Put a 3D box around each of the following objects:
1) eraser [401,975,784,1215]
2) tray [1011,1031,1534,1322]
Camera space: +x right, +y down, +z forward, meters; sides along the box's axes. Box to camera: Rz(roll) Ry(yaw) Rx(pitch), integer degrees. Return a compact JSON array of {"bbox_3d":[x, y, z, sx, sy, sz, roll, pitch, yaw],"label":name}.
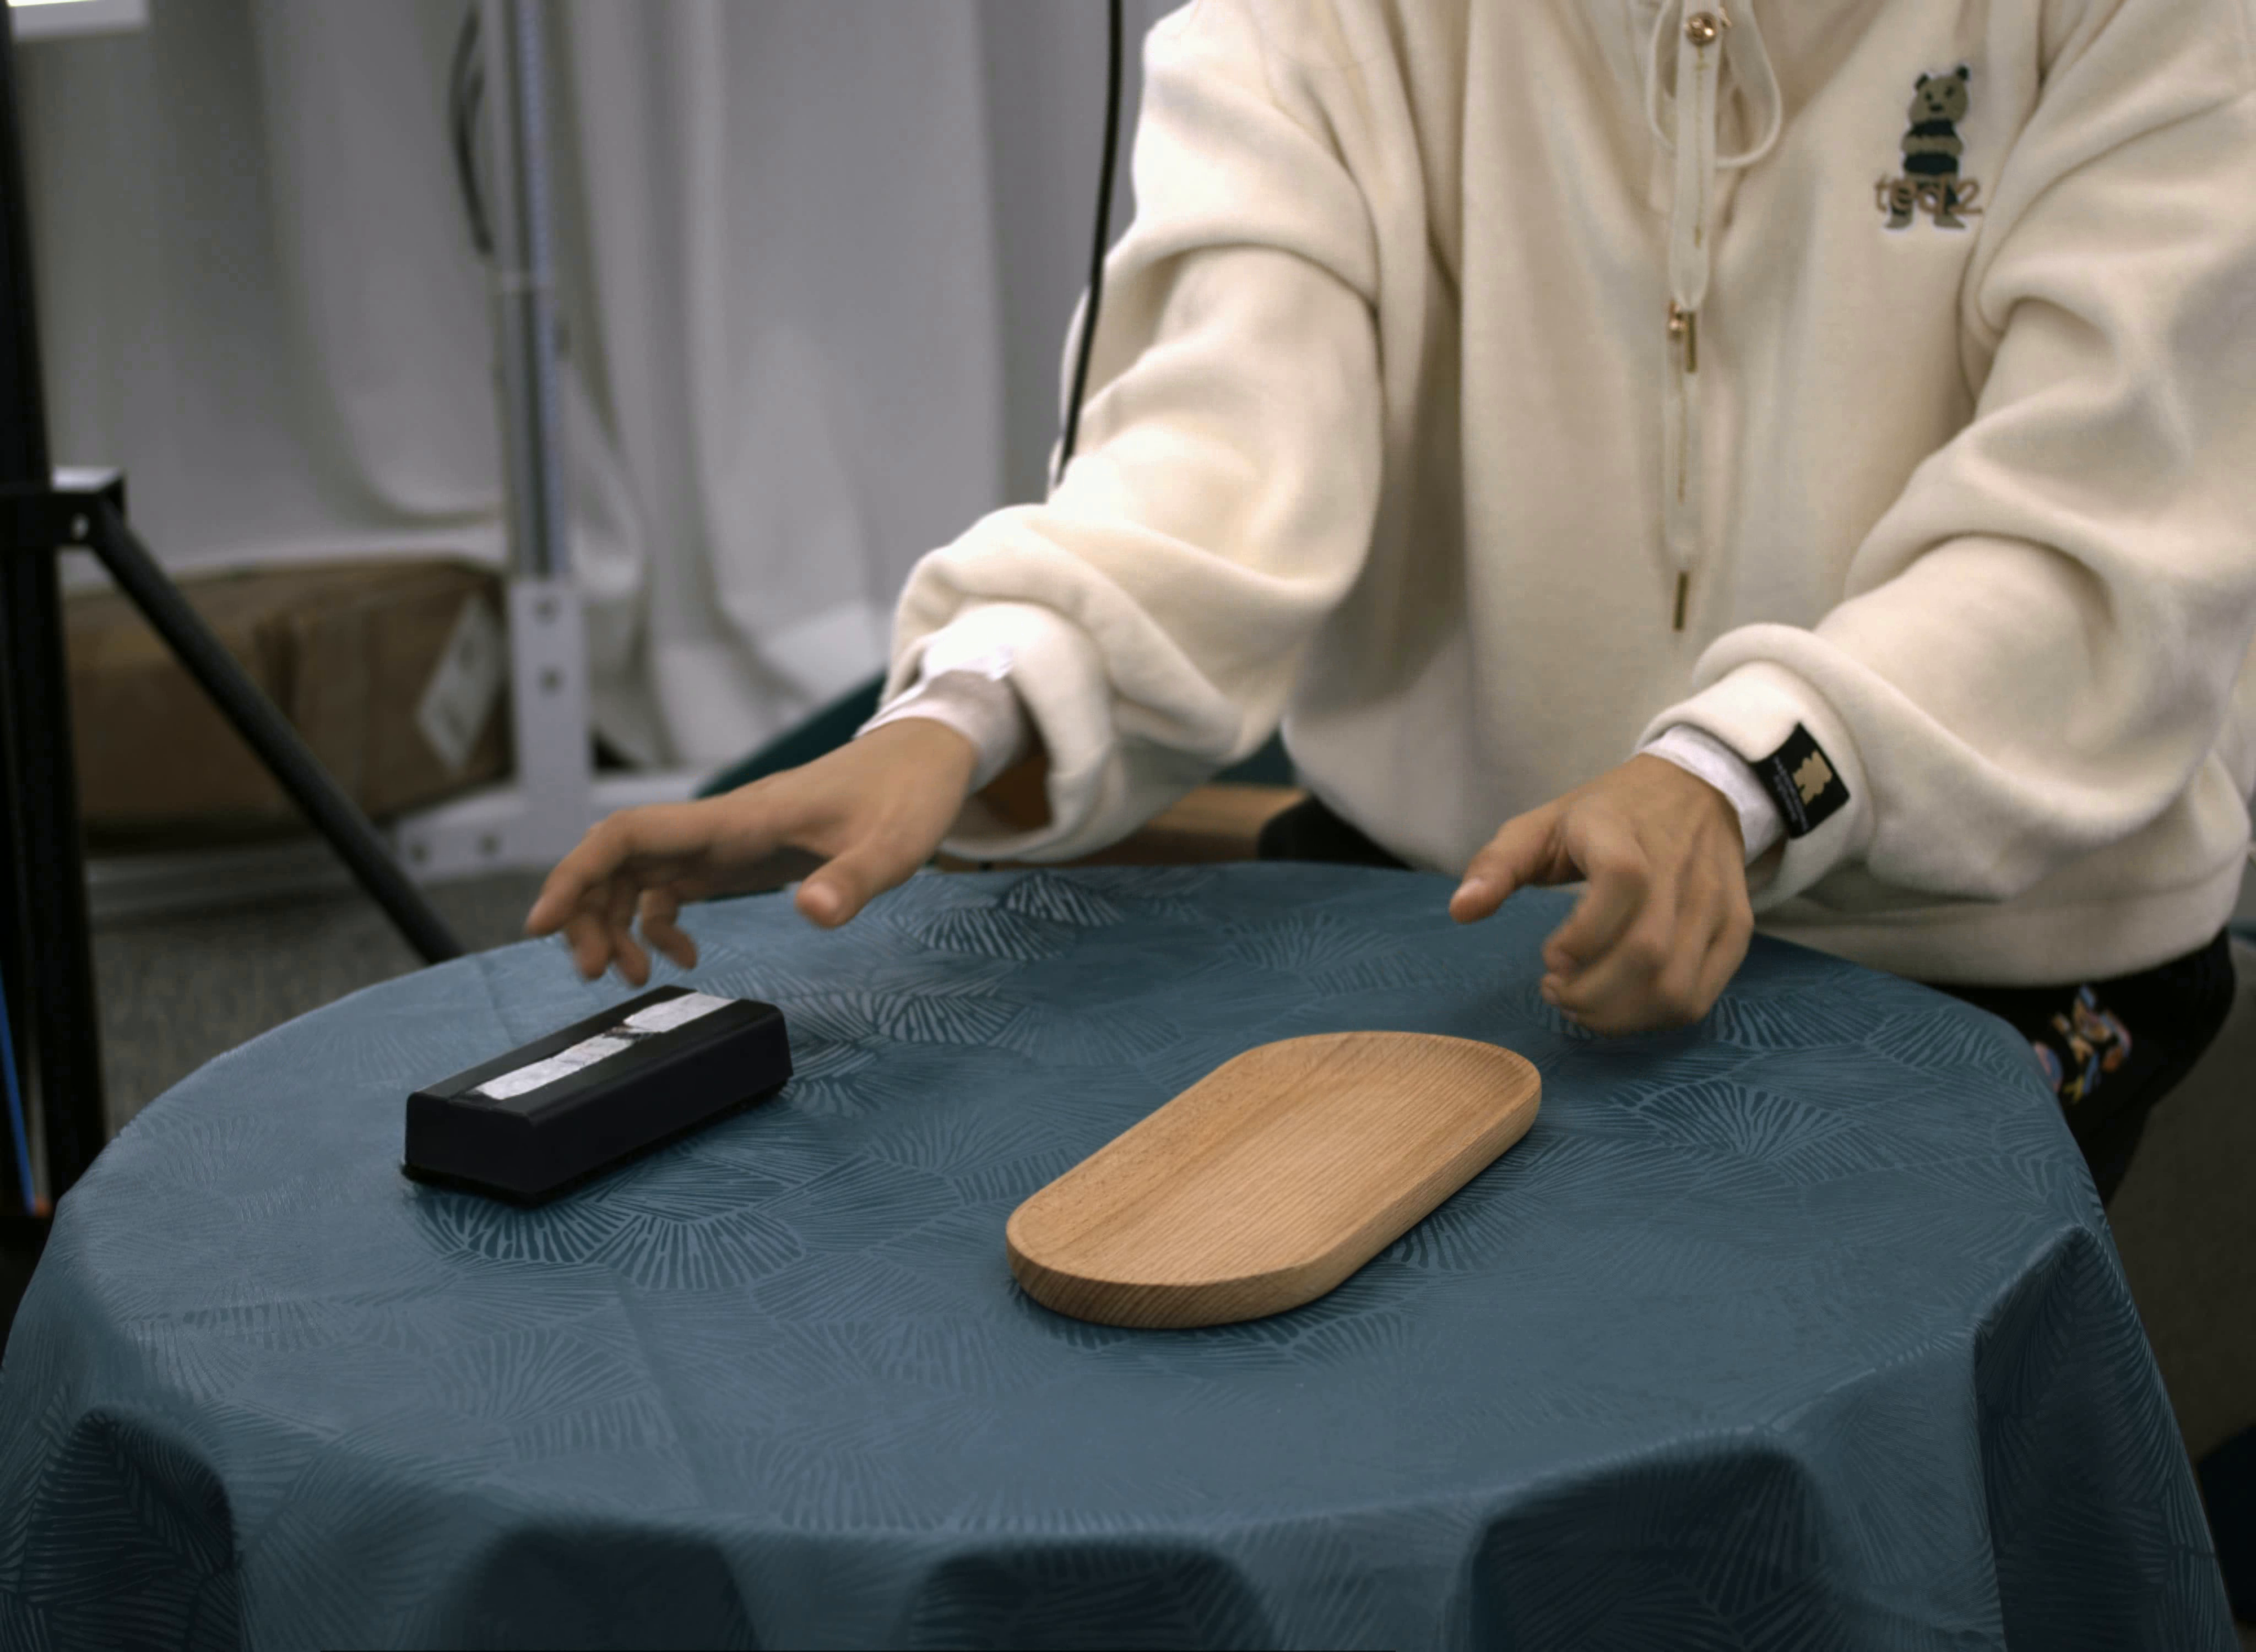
[{"bbox_3d":[-0.162,0.081,1.624,0.054,0.030,0.123,15,24,31],"label":"eraser"},{"bbox_3d":[0.045,0.100,1.548,0.103,0.020,0.227,5,16,25],"label":"tray"}]
